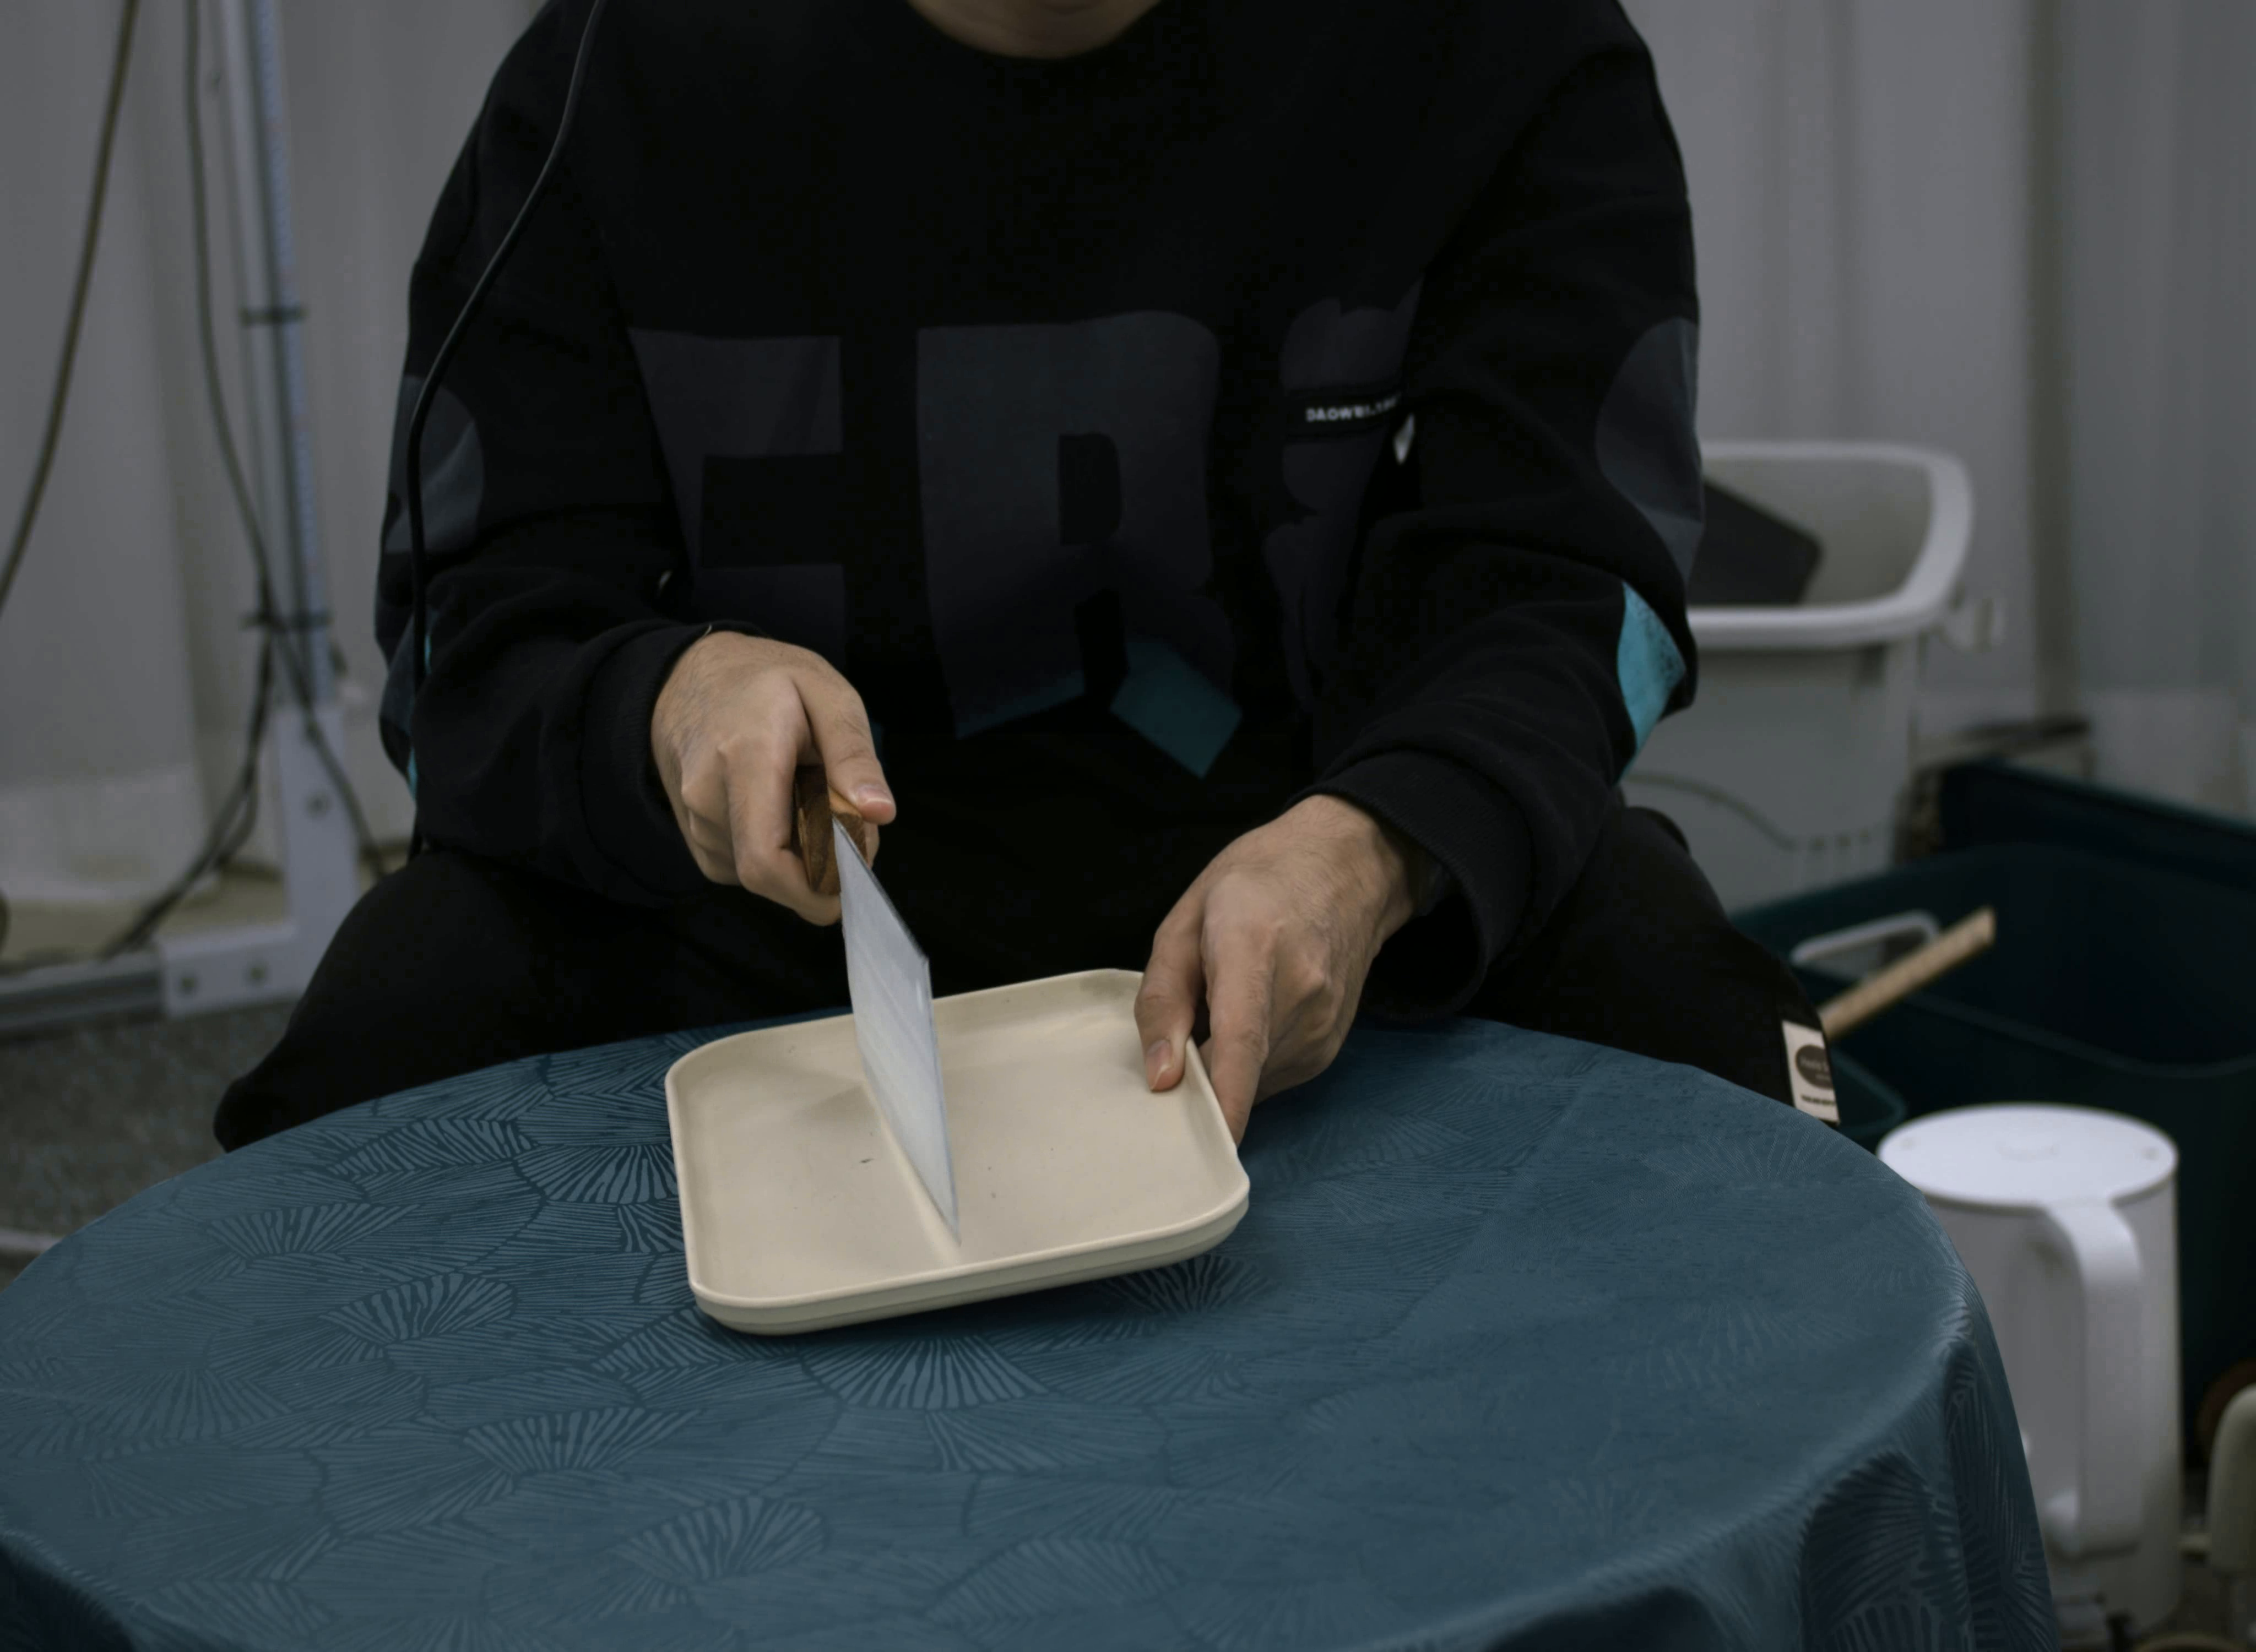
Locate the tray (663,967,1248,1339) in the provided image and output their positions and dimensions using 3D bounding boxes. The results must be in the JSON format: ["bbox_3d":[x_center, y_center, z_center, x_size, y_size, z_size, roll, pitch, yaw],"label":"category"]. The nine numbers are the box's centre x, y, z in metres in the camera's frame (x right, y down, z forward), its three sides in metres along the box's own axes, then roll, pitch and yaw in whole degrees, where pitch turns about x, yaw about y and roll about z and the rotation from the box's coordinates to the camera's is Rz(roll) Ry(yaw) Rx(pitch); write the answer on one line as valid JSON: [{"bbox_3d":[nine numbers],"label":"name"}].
[{"bbox_3d":[-0.057,0.100,1.705,0.171,0.017,0.241,-11,18,-3],"label":"tray"}]

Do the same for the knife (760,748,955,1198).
[{"bbox_3d":[-0.084,0.046,1.740,0.021,0.092,0.308,-9,15,-9],"label":"knife"}]
